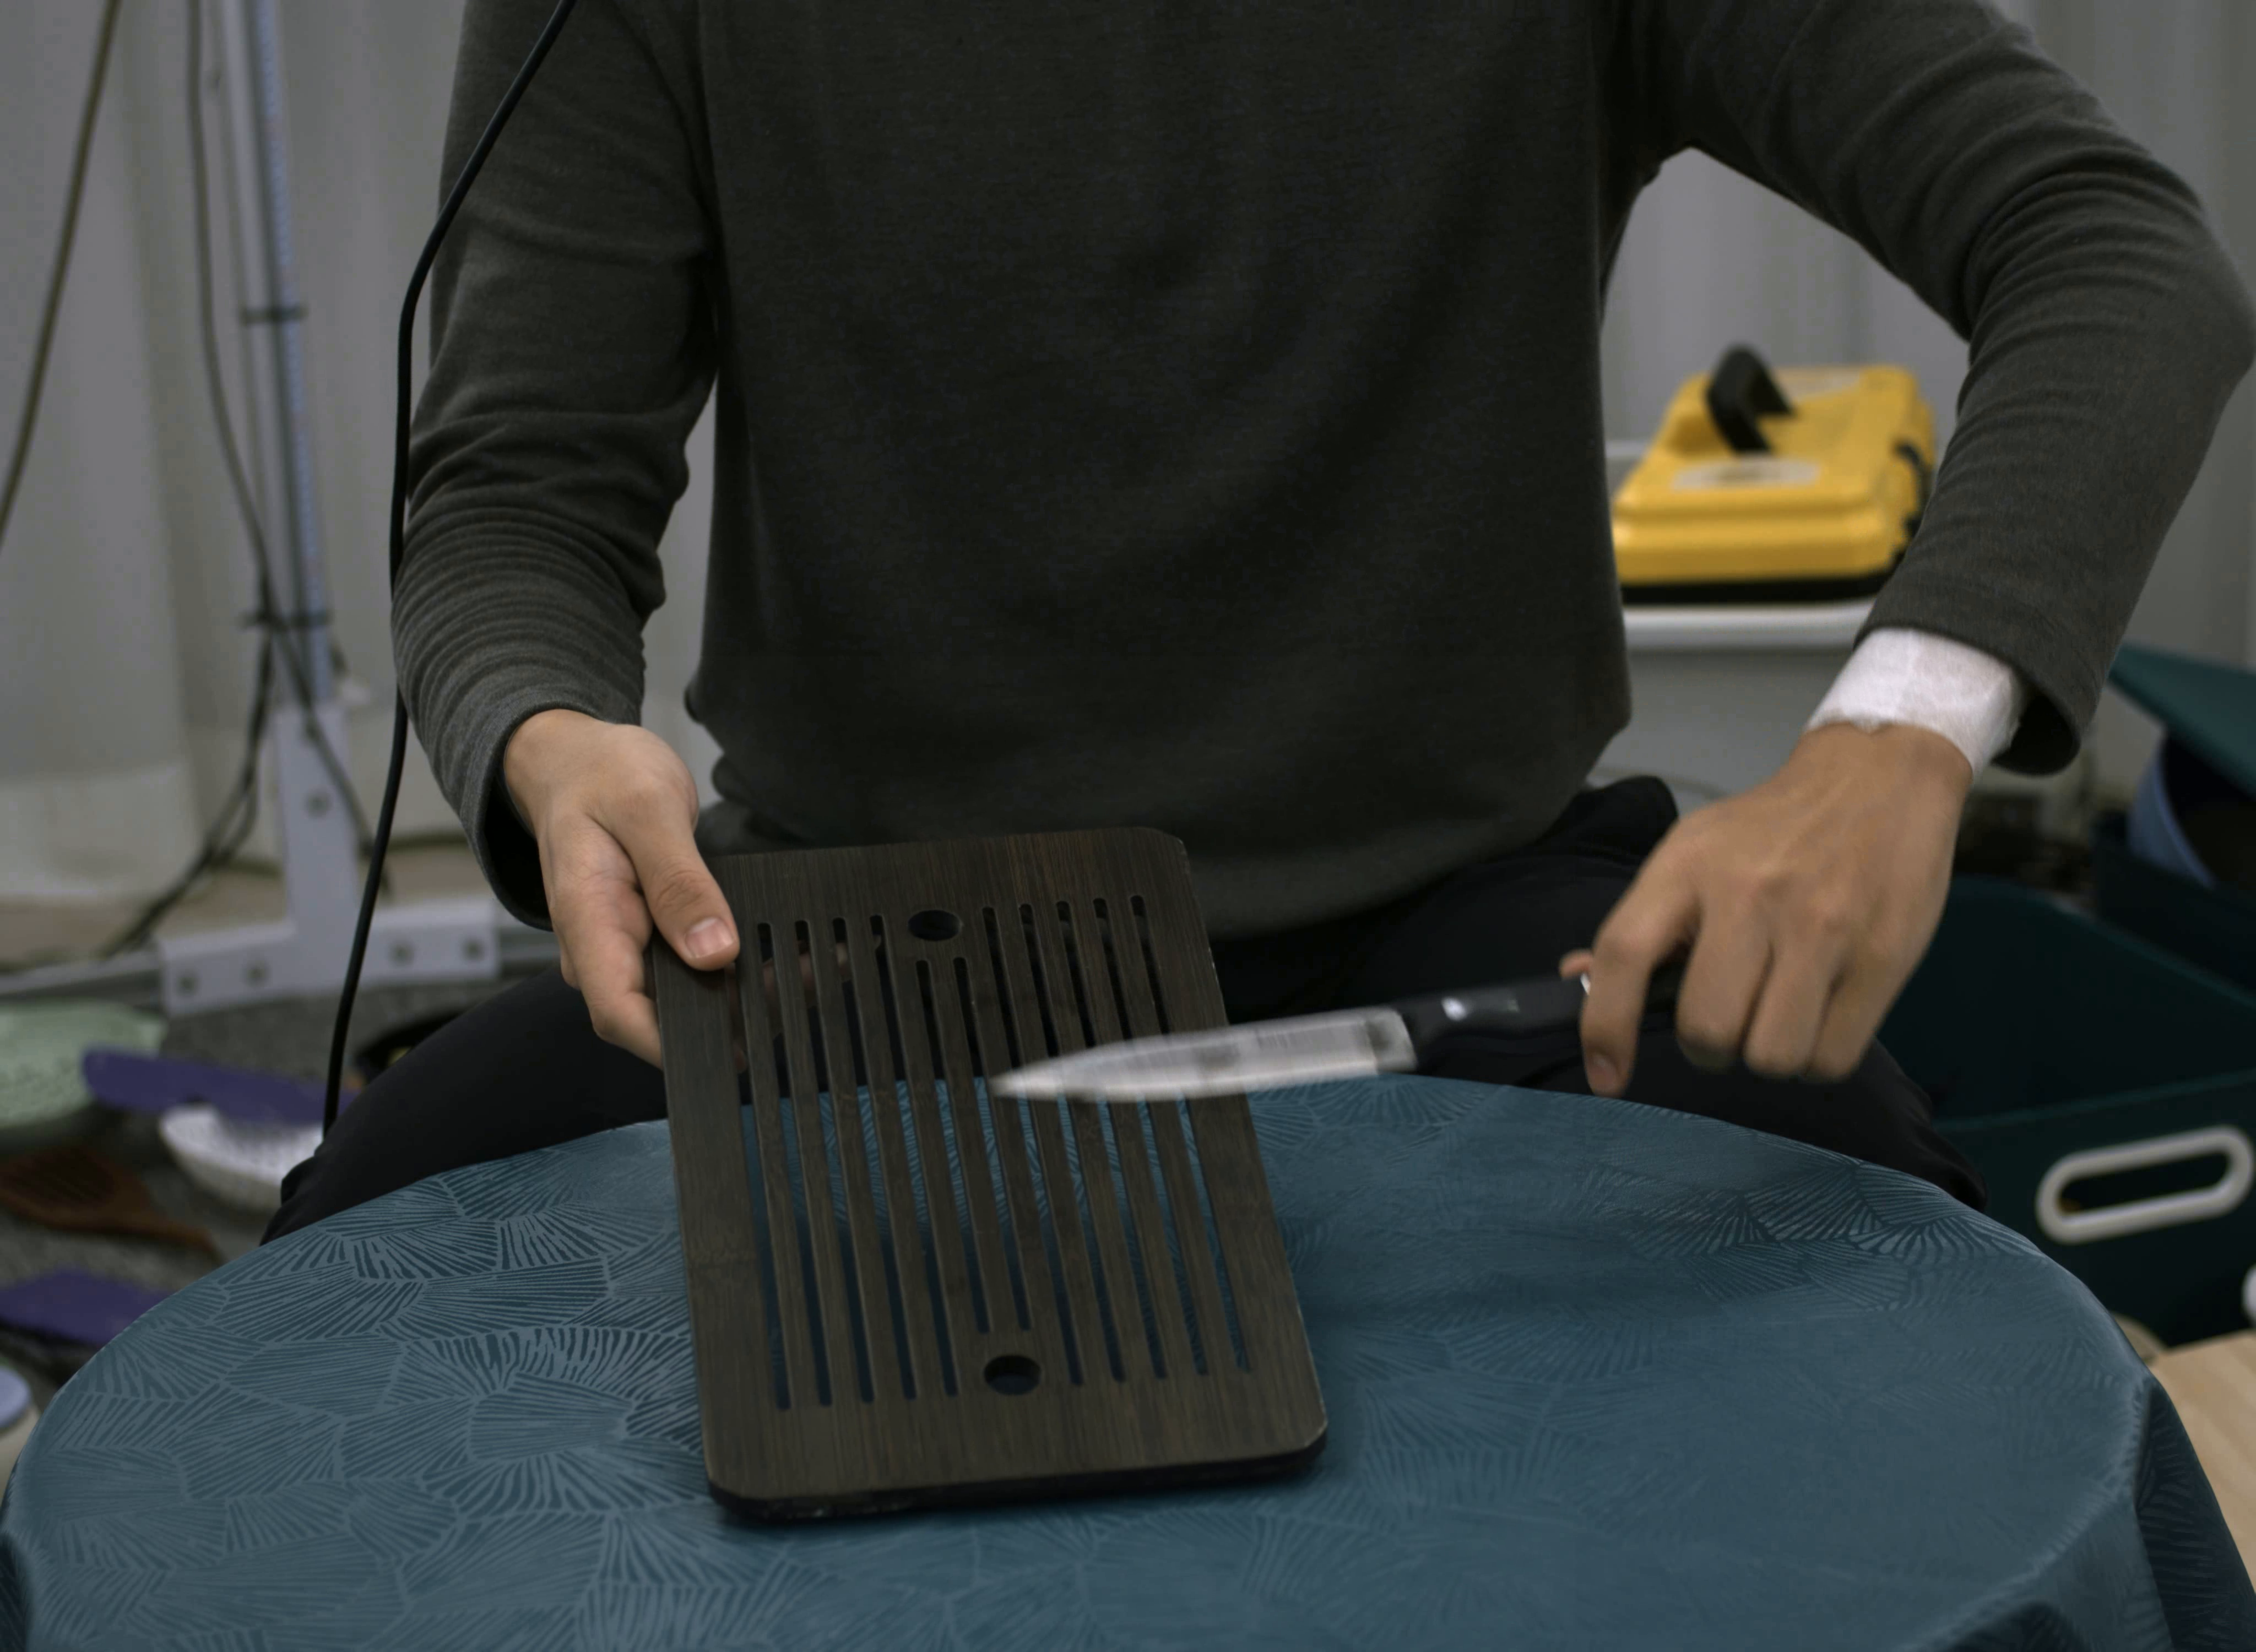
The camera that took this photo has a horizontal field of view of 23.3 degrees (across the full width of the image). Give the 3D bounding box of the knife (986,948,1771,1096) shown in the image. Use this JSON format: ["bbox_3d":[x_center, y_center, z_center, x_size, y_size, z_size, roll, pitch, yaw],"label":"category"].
[{"bbox_3d":[0.074,0.060,1.623,0.237,0.016,0.025,-8,46,-7],"label":"knife"}]

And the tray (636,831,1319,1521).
[{"bbox_3d":[-0.050,0.097,1.589,0.169,0.018,0.310,-4,34,-6],"label":"tray"}]
